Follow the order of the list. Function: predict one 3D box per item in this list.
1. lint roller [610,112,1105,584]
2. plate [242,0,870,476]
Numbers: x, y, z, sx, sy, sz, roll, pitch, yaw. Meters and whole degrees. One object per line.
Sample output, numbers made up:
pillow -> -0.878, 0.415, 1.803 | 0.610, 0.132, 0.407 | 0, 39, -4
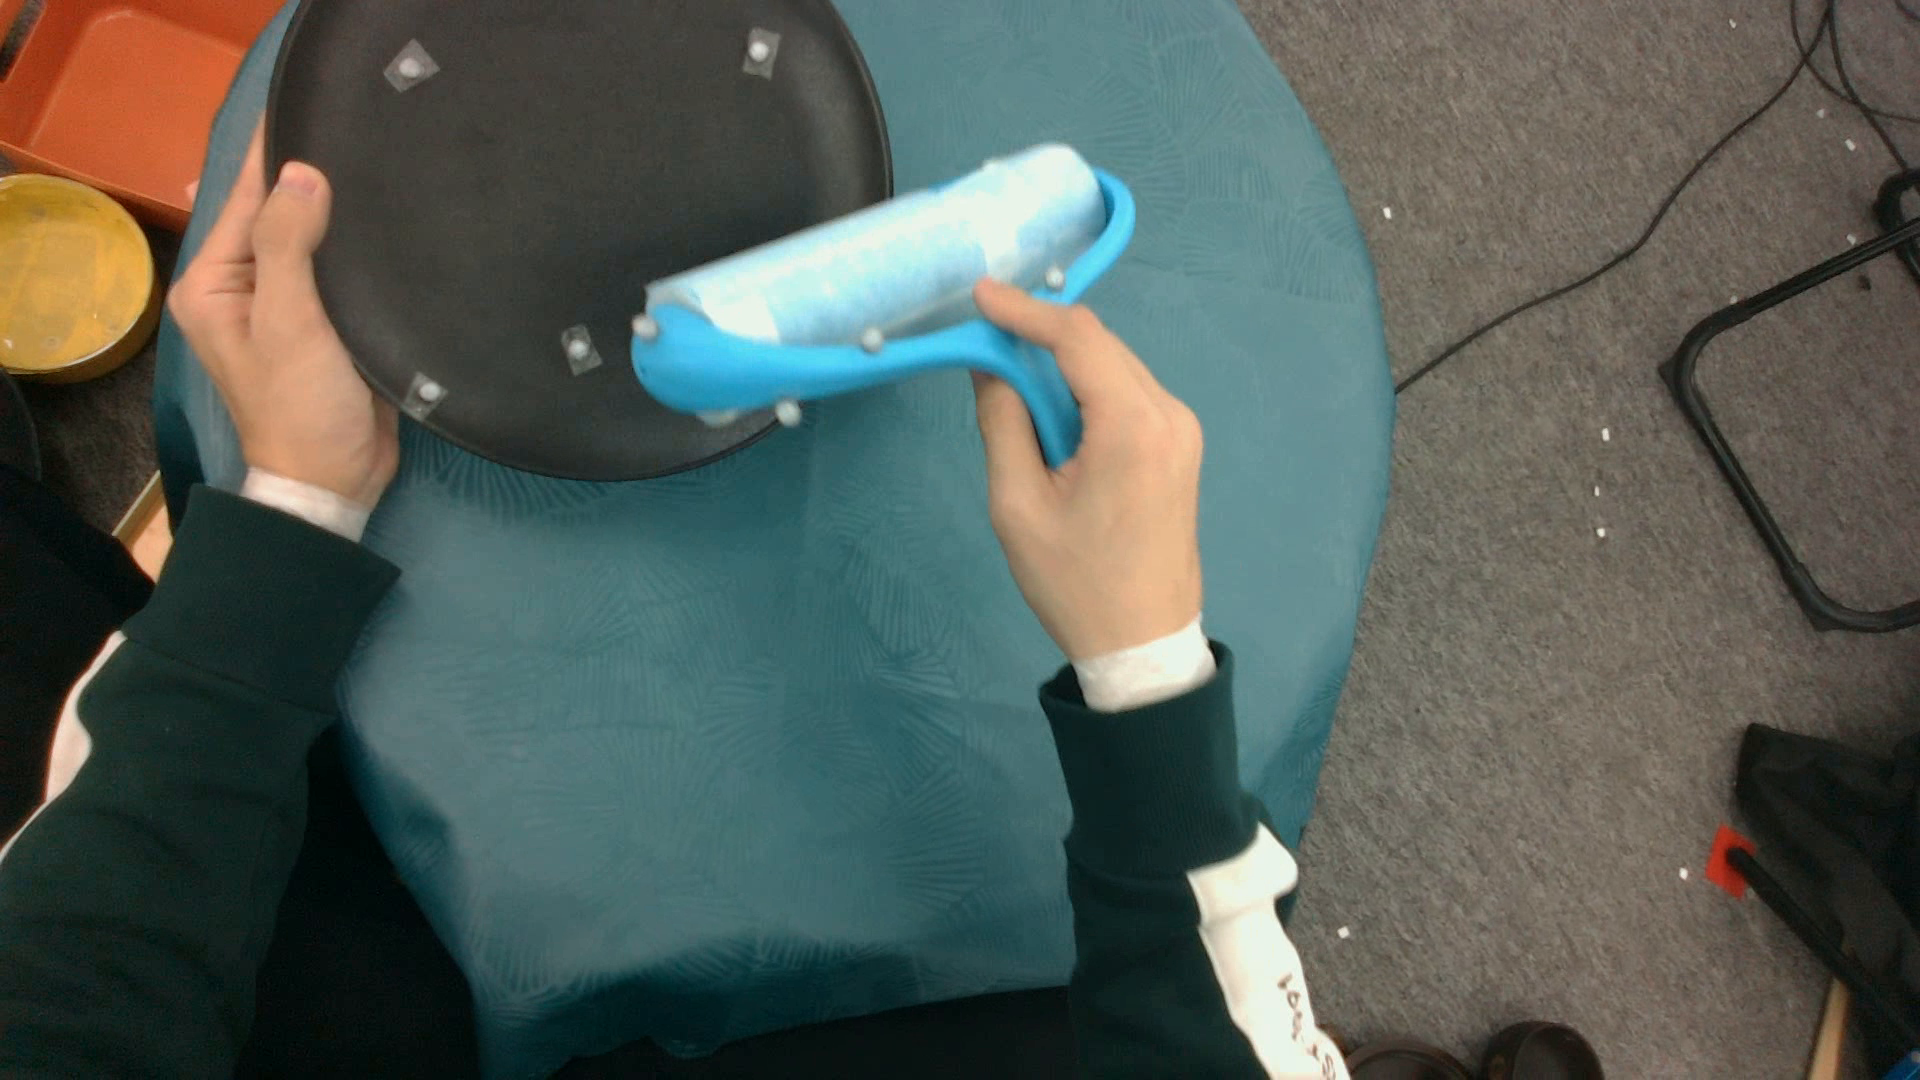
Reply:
lint roller -> 0.004, -0.068, 0.523 | 0.180, 0.067, 0.230 | 48, 53, 7
plate -> -0.157, -0.148, 0.564 | 0.245, 0.023, 0.244 | -3, 100, -19
